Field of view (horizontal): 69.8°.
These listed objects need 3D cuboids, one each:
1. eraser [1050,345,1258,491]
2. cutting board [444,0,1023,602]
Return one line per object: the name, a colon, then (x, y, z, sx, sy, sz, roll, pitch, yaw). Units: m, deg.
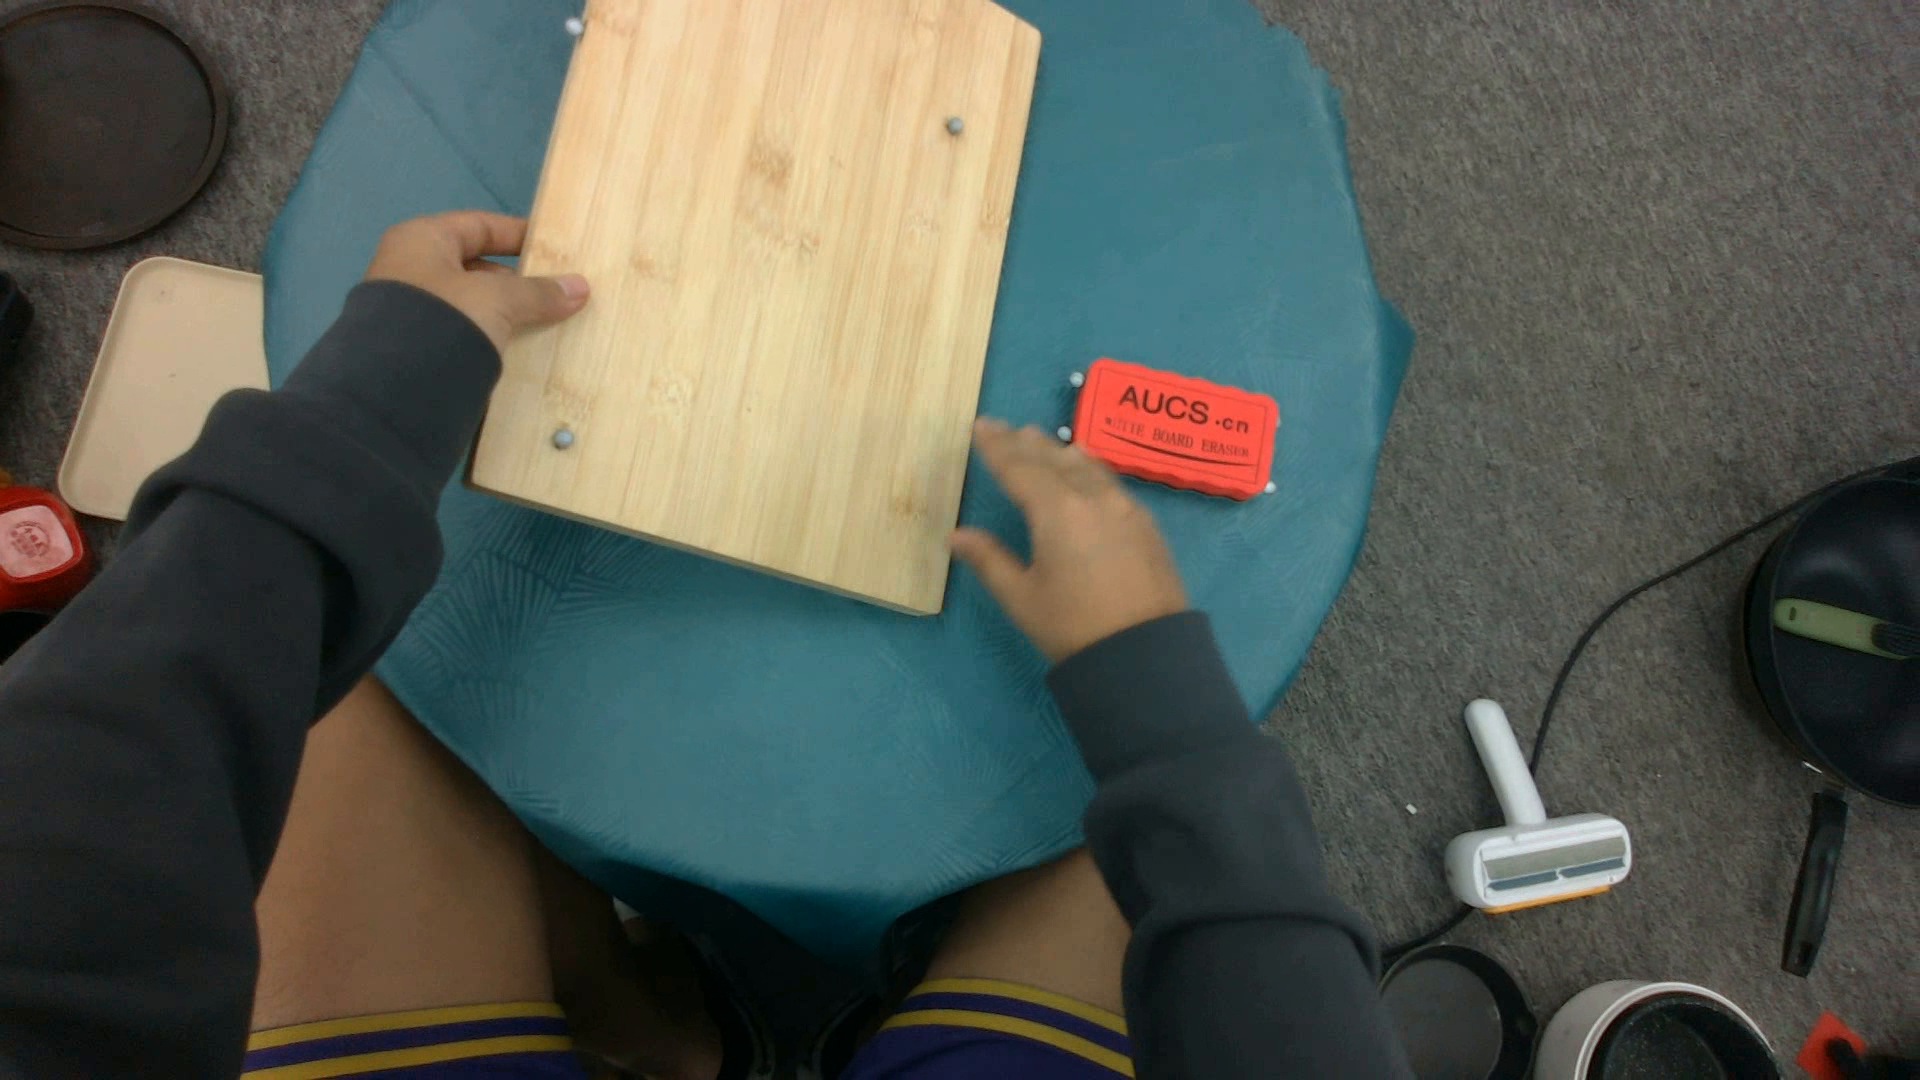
eraser: (0.106, -0.066, 0.748, 0.108, 0.023, 0.059, 13, 75, -6)
cutting board: (-0.093, -0.163, 0.687, 0.251, 0.023, 0.349, 17, 74, -33)
